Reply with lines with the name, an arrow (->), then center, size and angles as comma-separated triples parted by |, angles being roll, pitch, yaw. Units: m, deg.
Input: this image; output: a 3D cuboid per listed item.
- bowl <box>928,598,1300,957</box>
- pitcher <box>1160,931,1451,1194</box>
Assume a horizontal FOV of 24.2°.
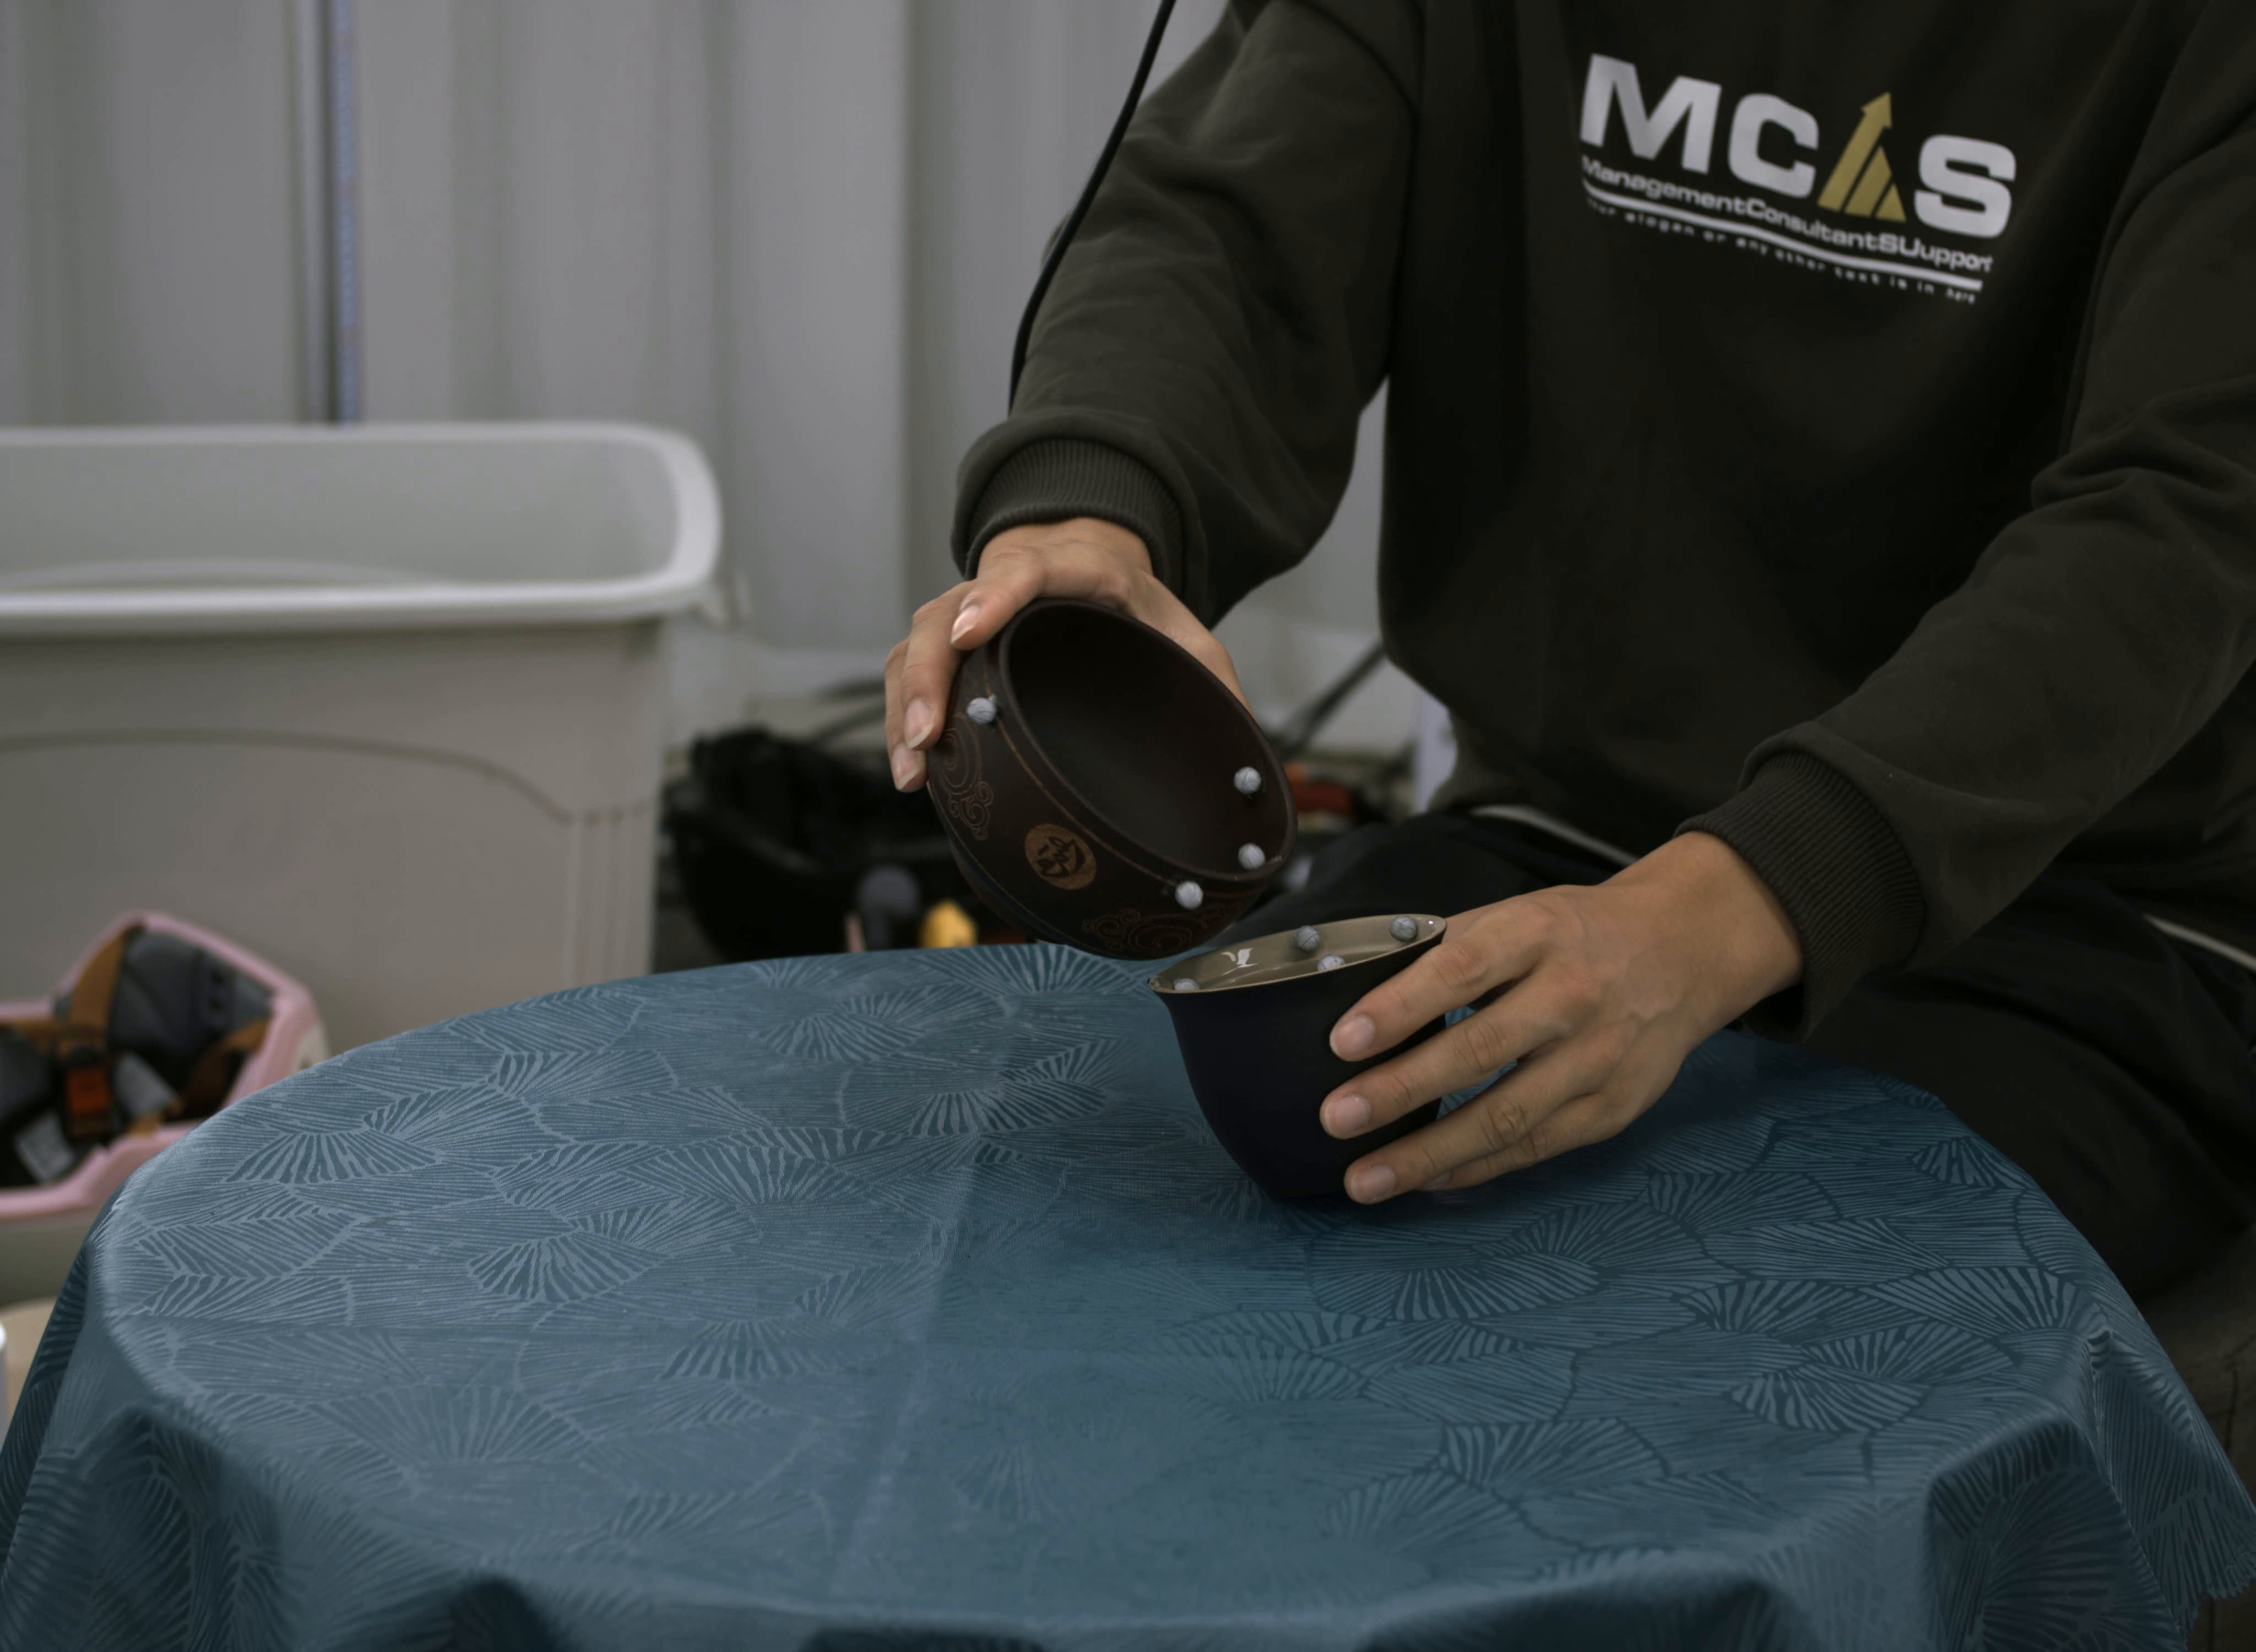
bowl -> -0.012, -0.007, 1.643 | 0.119, 0.070, 0.117 | 31, 30, -19
pitcher -> 0.057, 0.073, 1.624 | 0.095, 0.072, 0.084 | -8, 11, 39
